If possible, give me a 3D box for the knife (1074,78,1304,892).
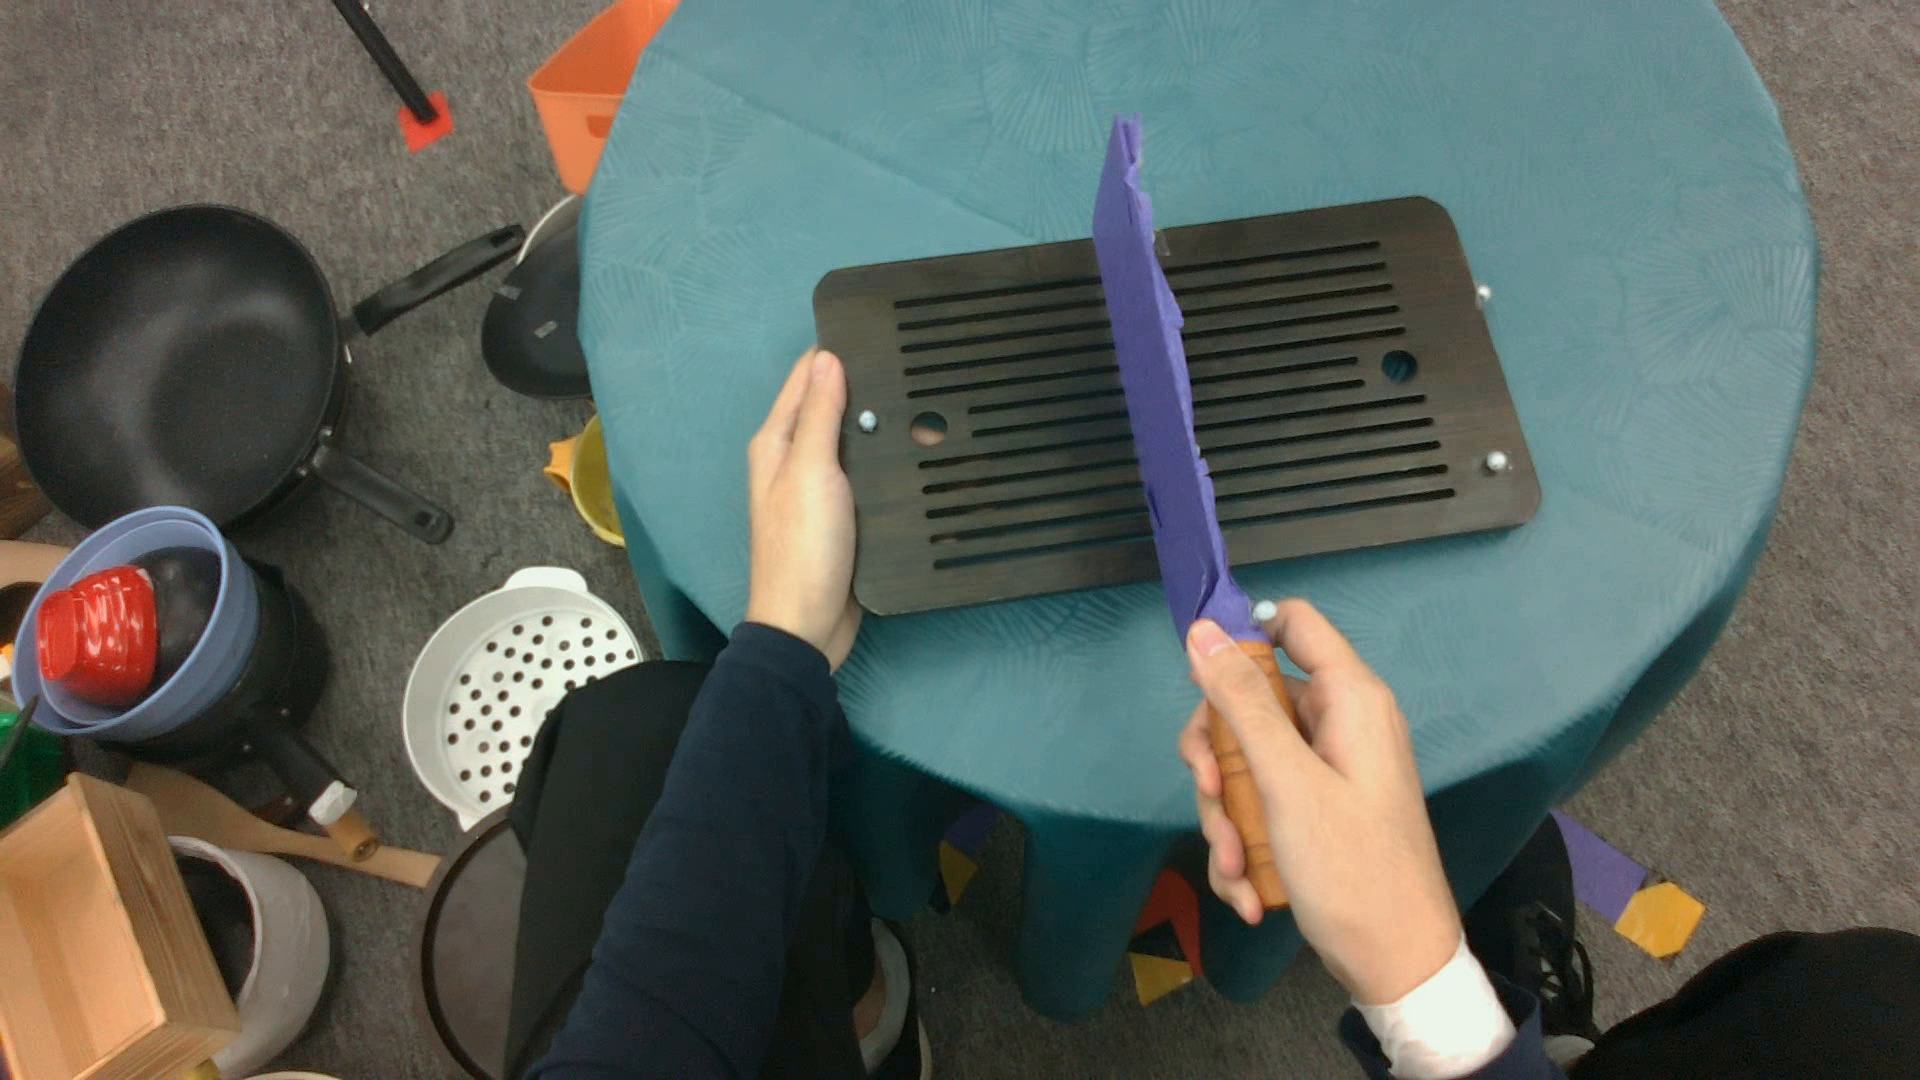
[{"bbox_3d":[0.083,-0.022,0.546,0.032,0.103,0.316,-6,73,-4],"label":"knife"}]

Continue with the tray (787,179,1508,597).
[{"bbox_3d":[0.082,-0.073,0.626,0.306,0.018,0.170,-8,70,-6],"label":"tray"}]
